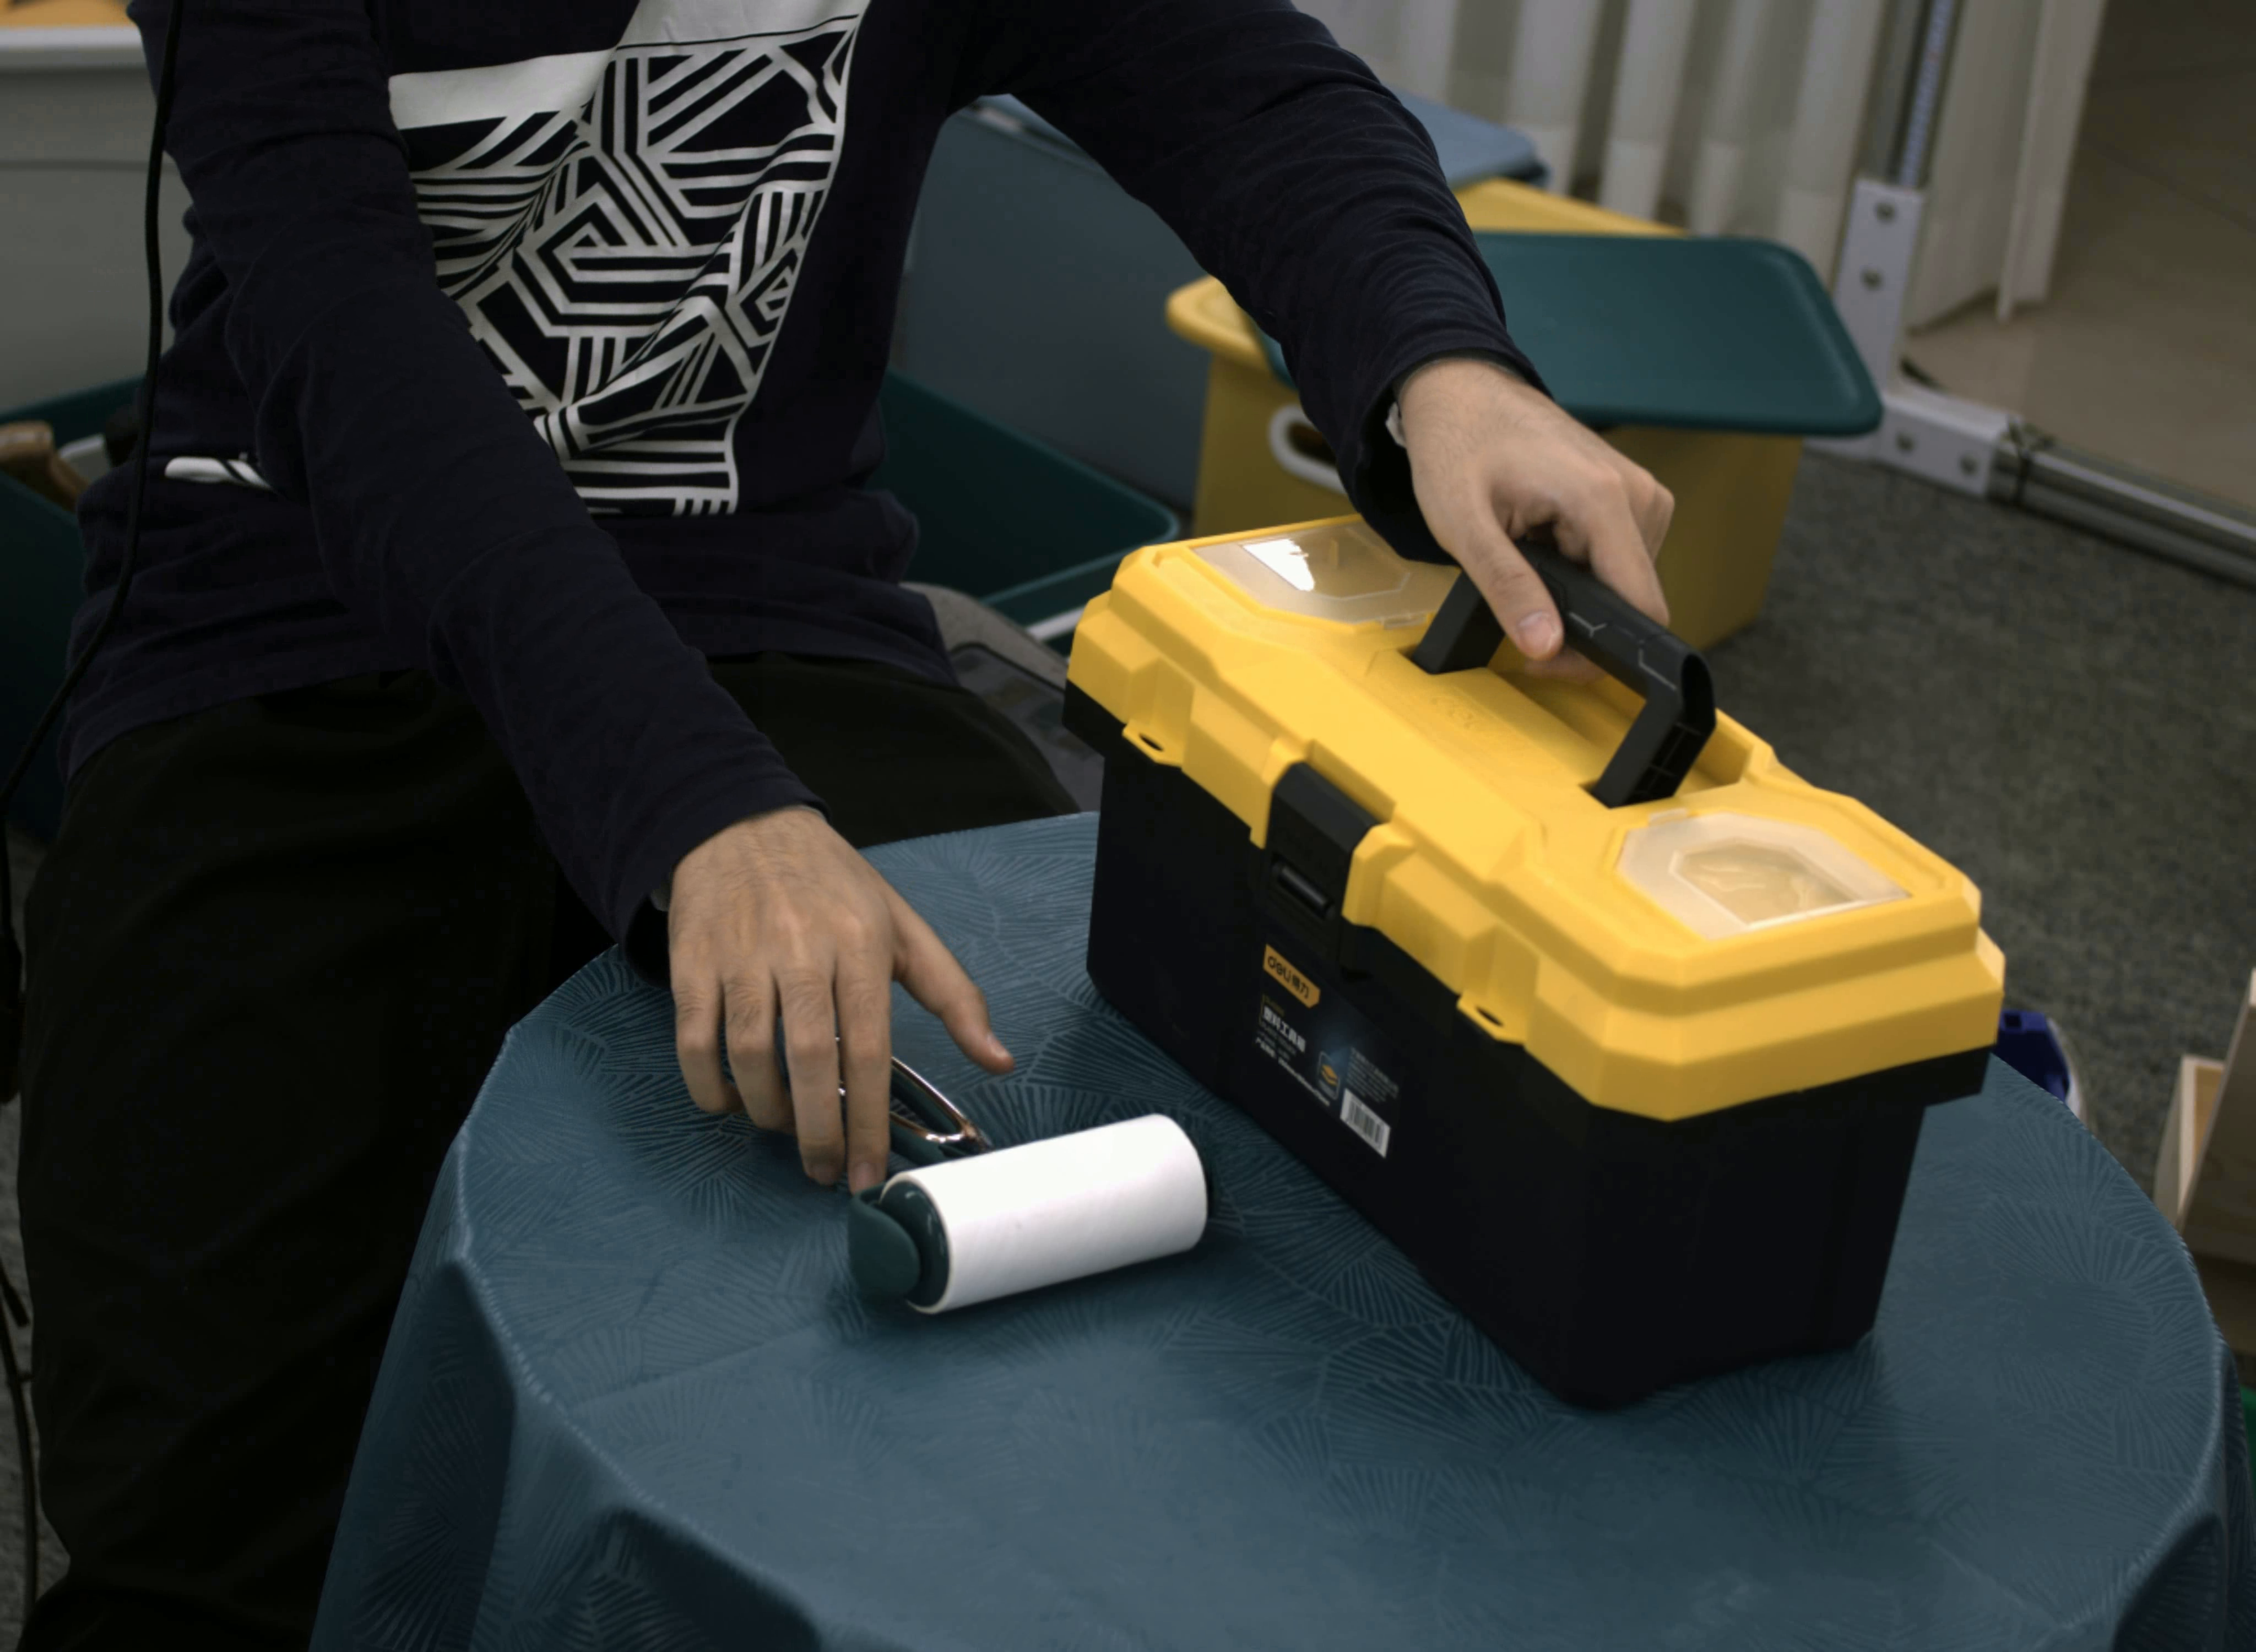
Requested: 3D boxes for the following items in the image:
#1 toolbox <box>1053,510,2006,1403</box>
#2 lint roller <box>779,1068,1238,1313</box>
[{"bbox_3d":[0.124,0.038,1.813,0.180,0.172,0.354,-10,30,-31],"label":"toolbox"},{"bbox_3d":[-0.065,0.101,1.792,0.133,0.048,0.181,-12,28,-31],"label":"lint roller"}]
